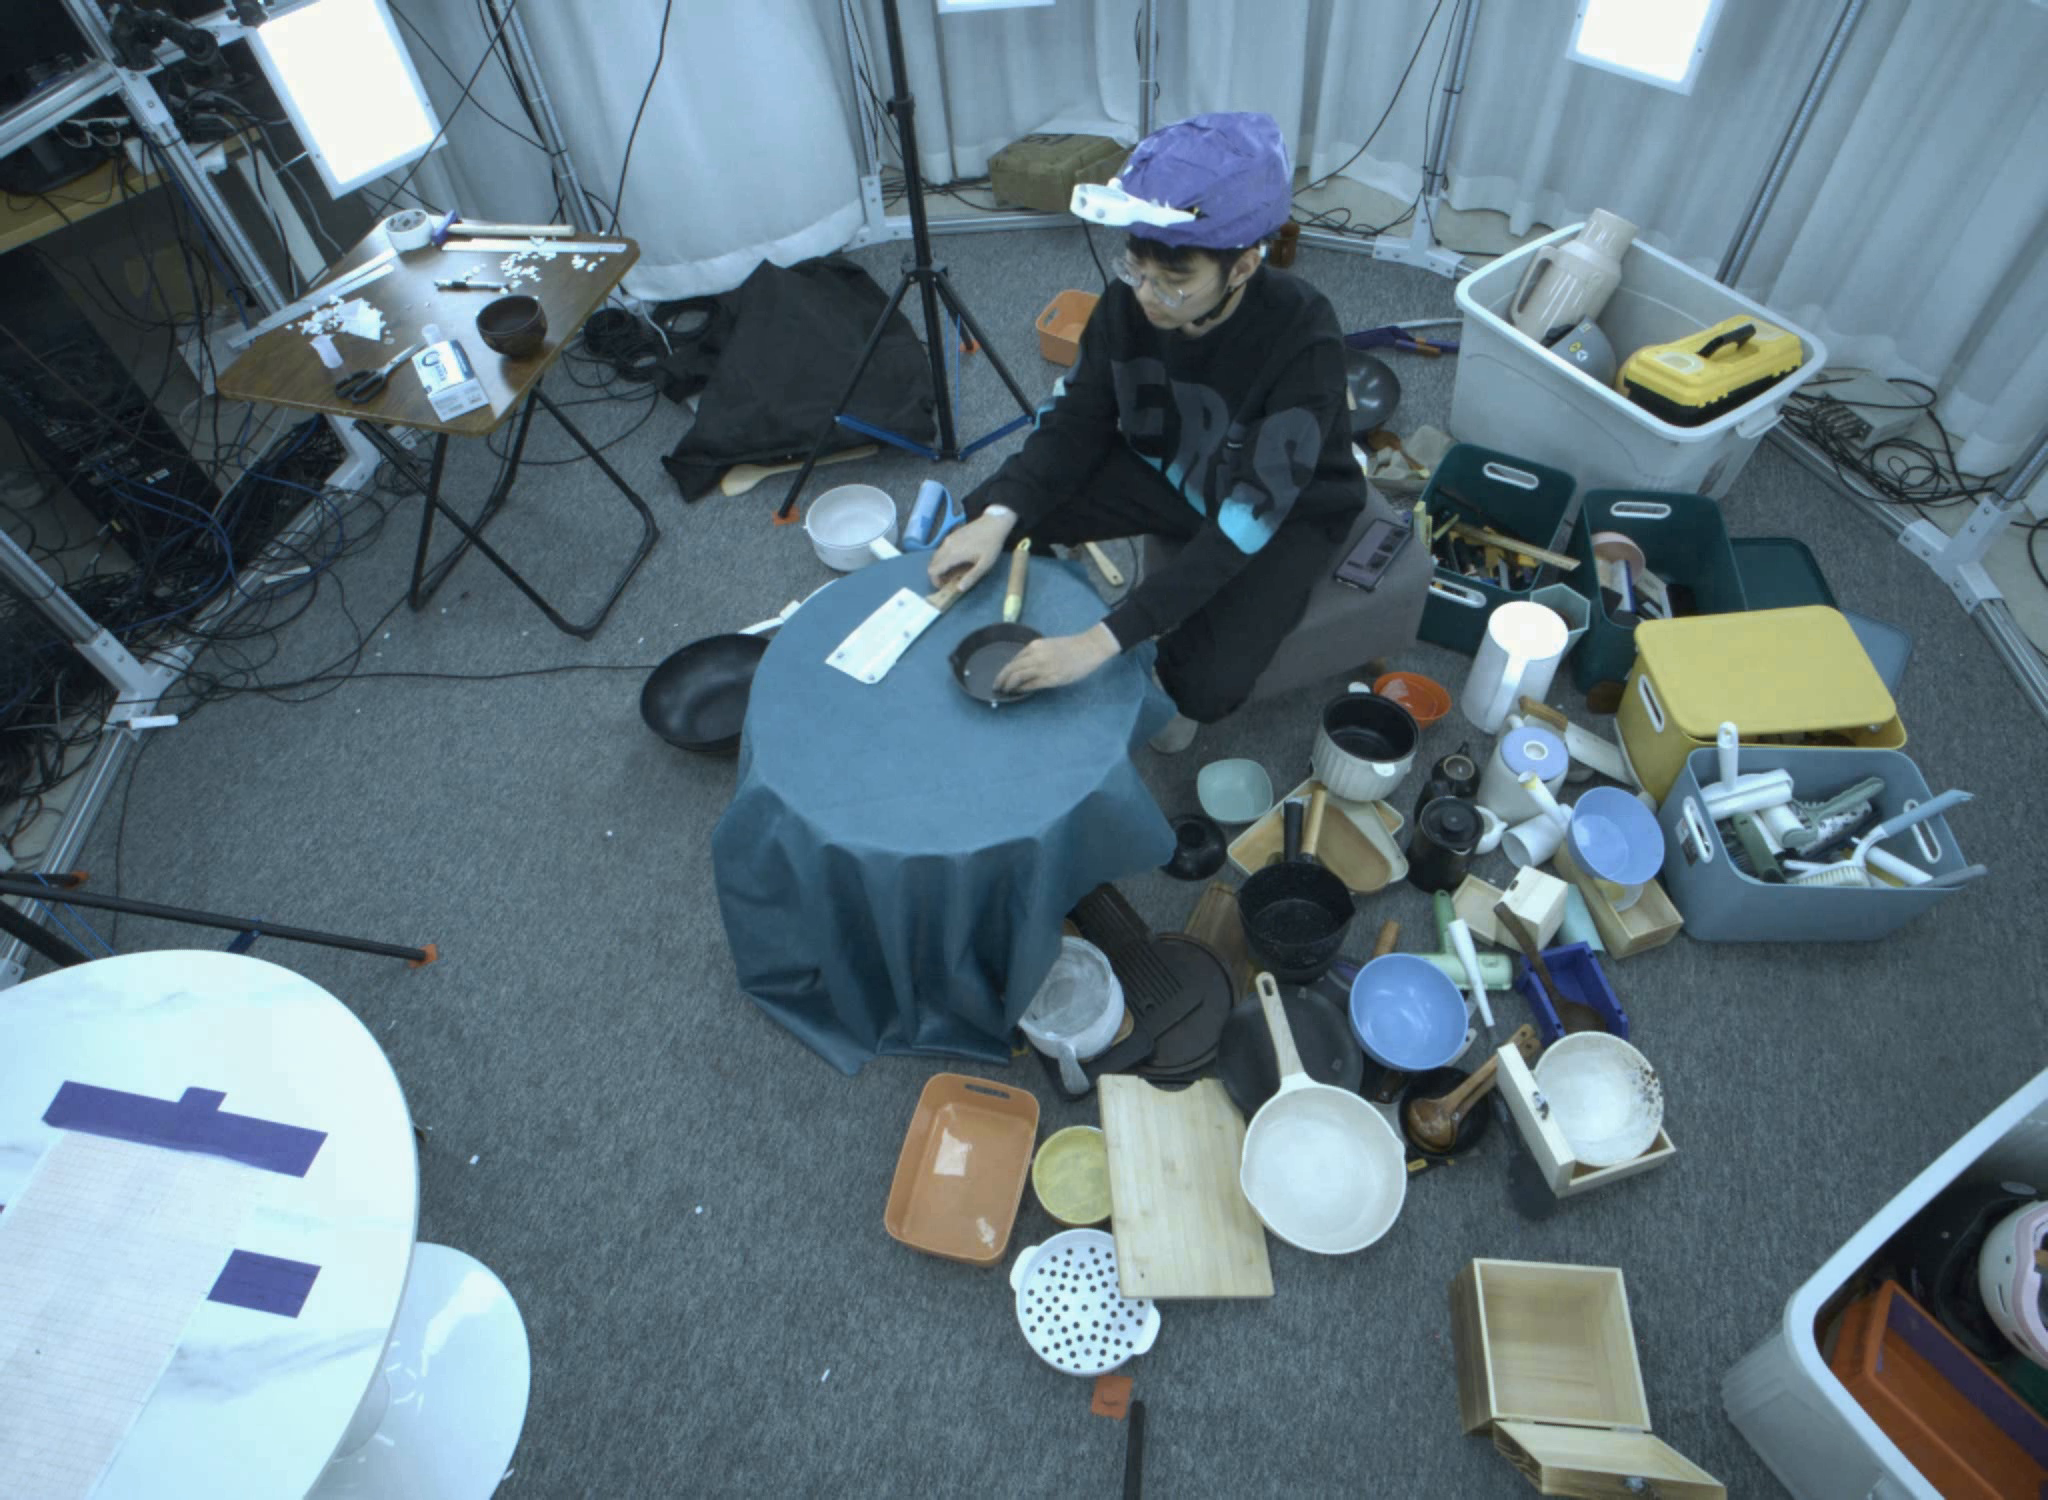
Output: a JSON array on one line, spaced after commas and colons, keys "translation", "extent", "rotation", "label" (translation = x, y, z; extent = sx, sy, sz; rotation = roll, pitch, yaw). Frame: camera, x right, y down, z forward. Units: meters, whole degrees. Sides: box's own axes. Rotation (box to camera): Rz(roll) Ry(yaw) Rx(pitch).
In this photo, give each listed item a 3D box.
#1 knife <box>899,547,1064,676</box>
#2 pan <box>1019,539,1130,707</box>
[{"translation": [-0.056, -0.224, 1.936], "extent": [0.317, 0.022, 0.112], "rotation": [-40, 62, -20], "label": "knife"}, {"translation": [0.093, -0.196, 1.891], "extent": [0.168, 0.050, 0.322], "rotation": [9, 57, 9], "label": "pan"}]
